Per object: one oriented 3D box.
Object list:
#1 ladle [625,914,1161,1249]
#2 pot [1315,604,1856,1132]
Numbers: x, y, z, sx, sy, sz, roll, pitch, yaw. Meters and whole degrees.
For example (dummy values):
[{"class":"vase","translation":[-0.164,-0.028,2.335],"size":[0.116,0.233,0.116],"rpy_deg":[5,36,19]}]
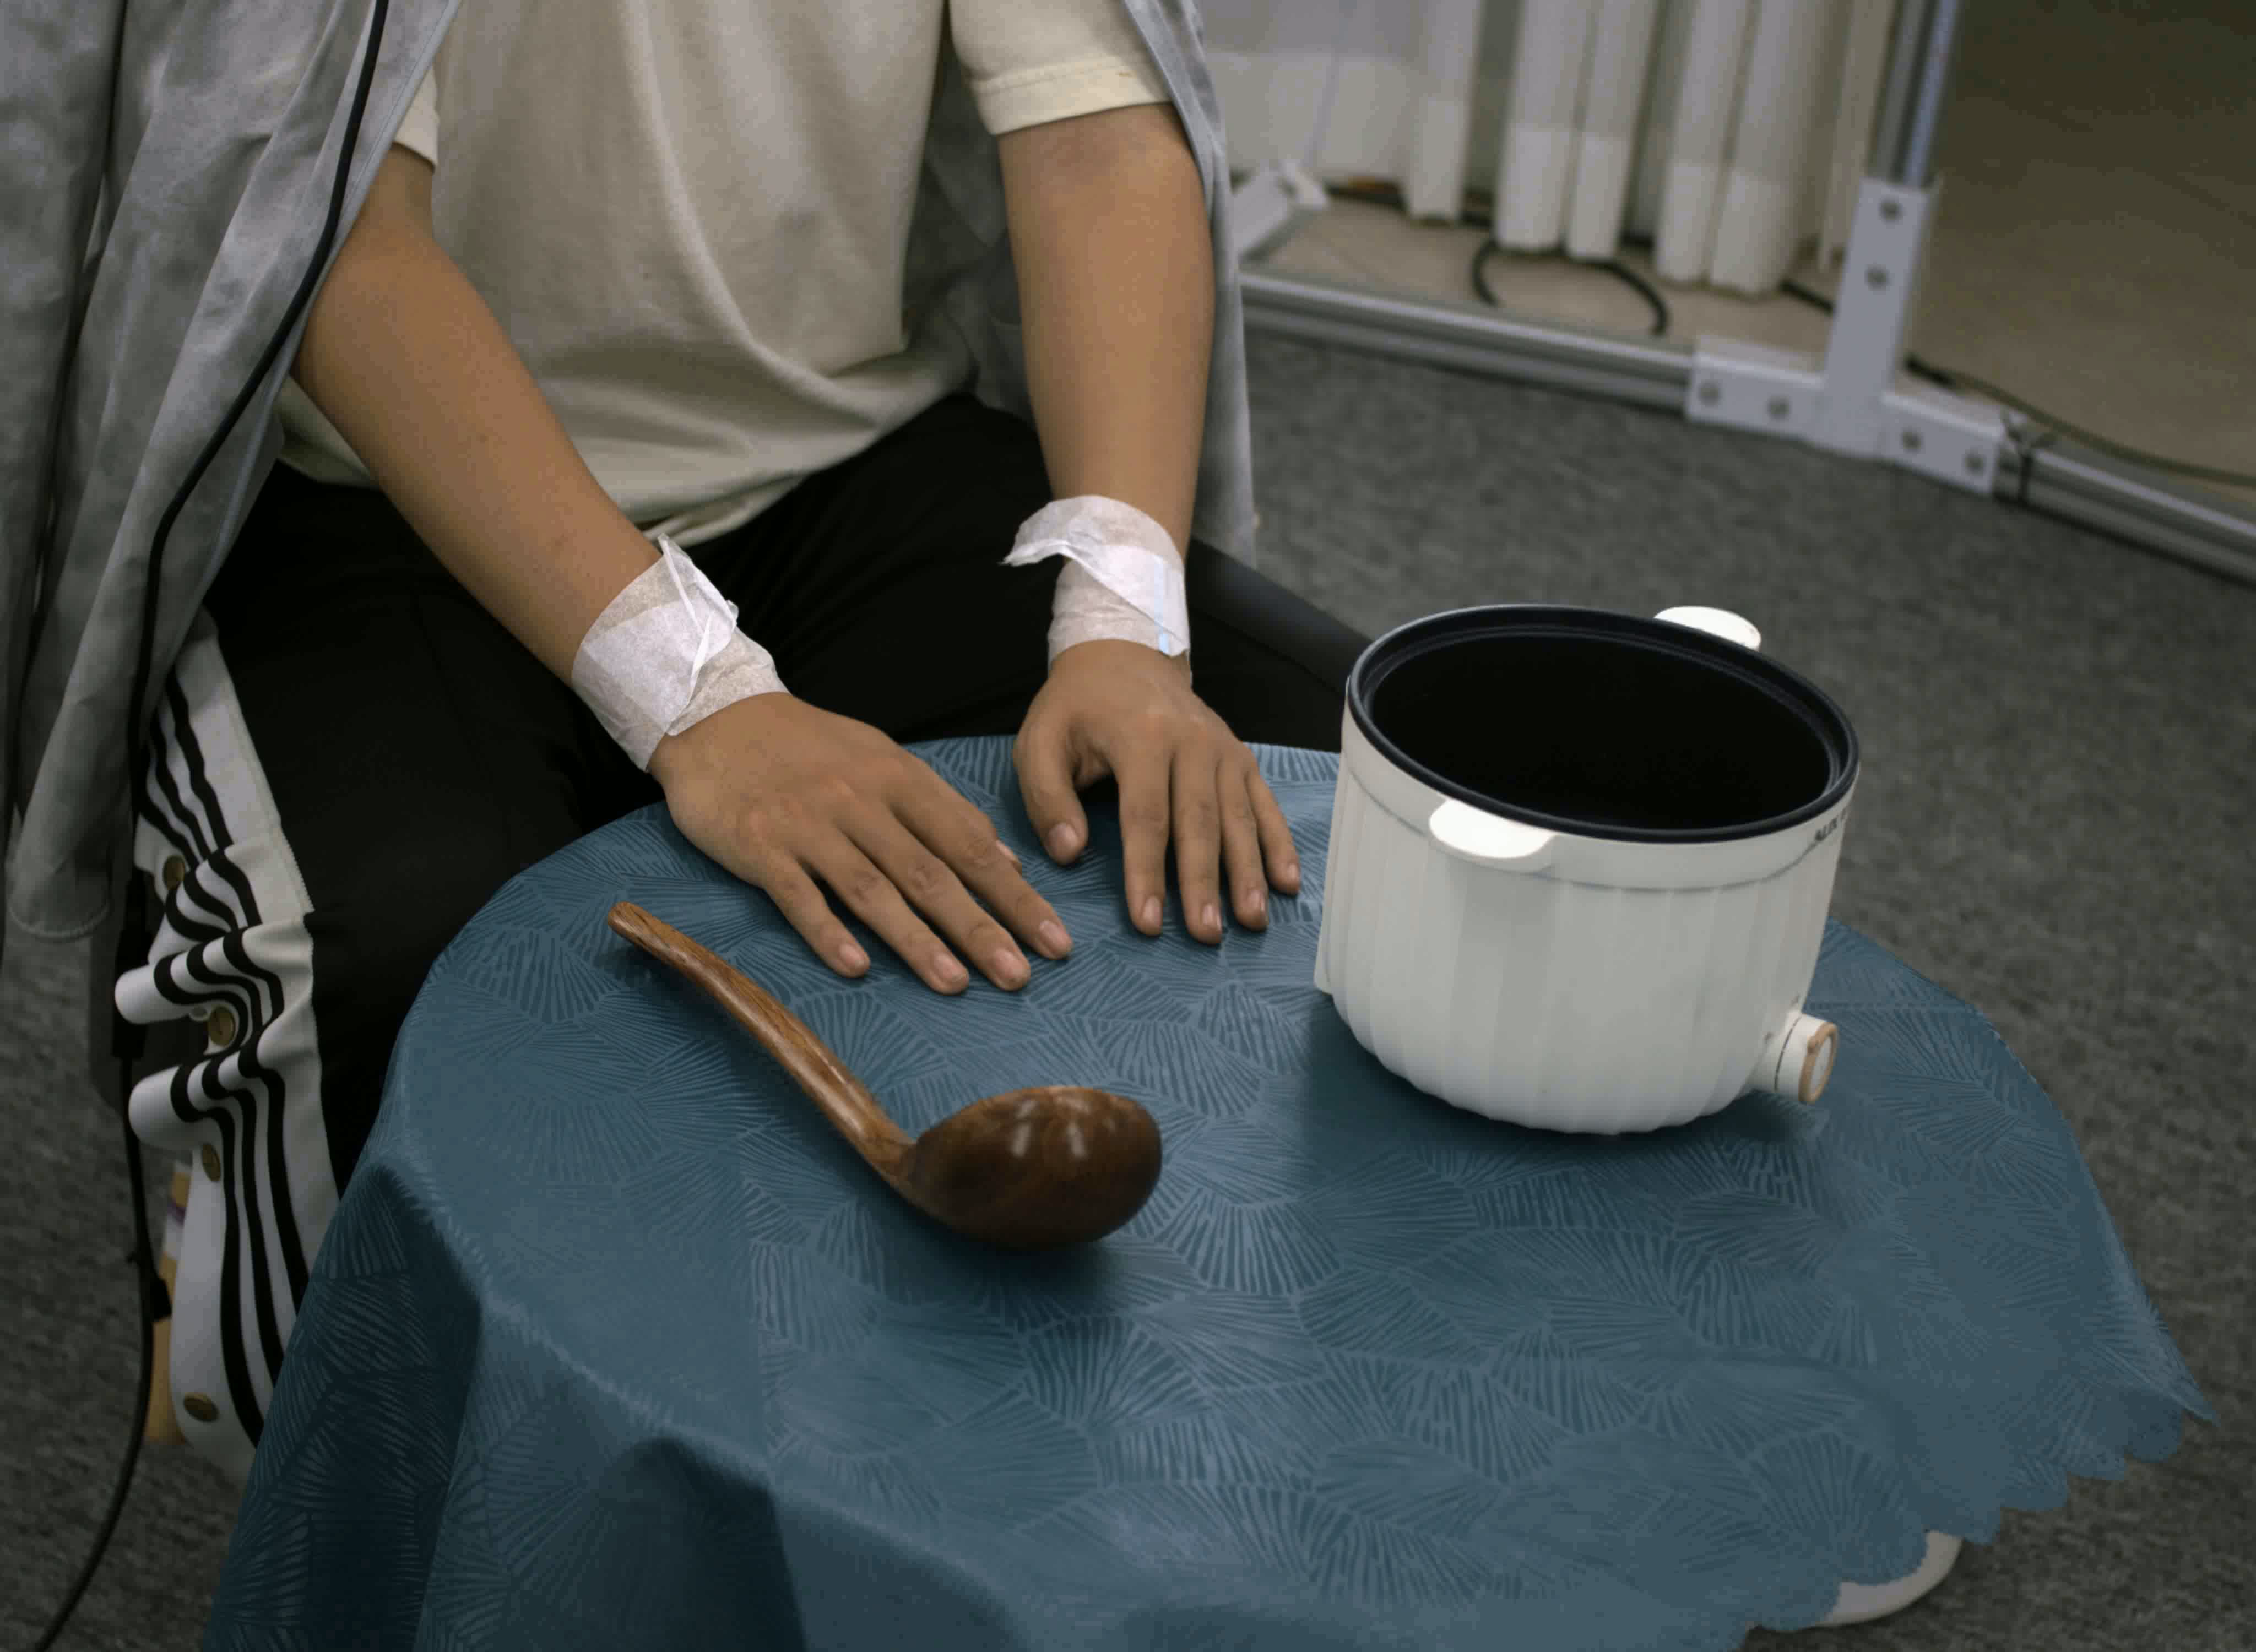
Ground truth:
[{"class":"ladle","translation":[-0.086,0.067,1.819],"size":[0.081,0.076,0.276],"rpy_deg":[40,-1,-41]},{"class":"pot","translation":[0.164,0.020,1.892],"size":[0.191,0.142,0.240],"rpy_deg":[15,28,23]}]
